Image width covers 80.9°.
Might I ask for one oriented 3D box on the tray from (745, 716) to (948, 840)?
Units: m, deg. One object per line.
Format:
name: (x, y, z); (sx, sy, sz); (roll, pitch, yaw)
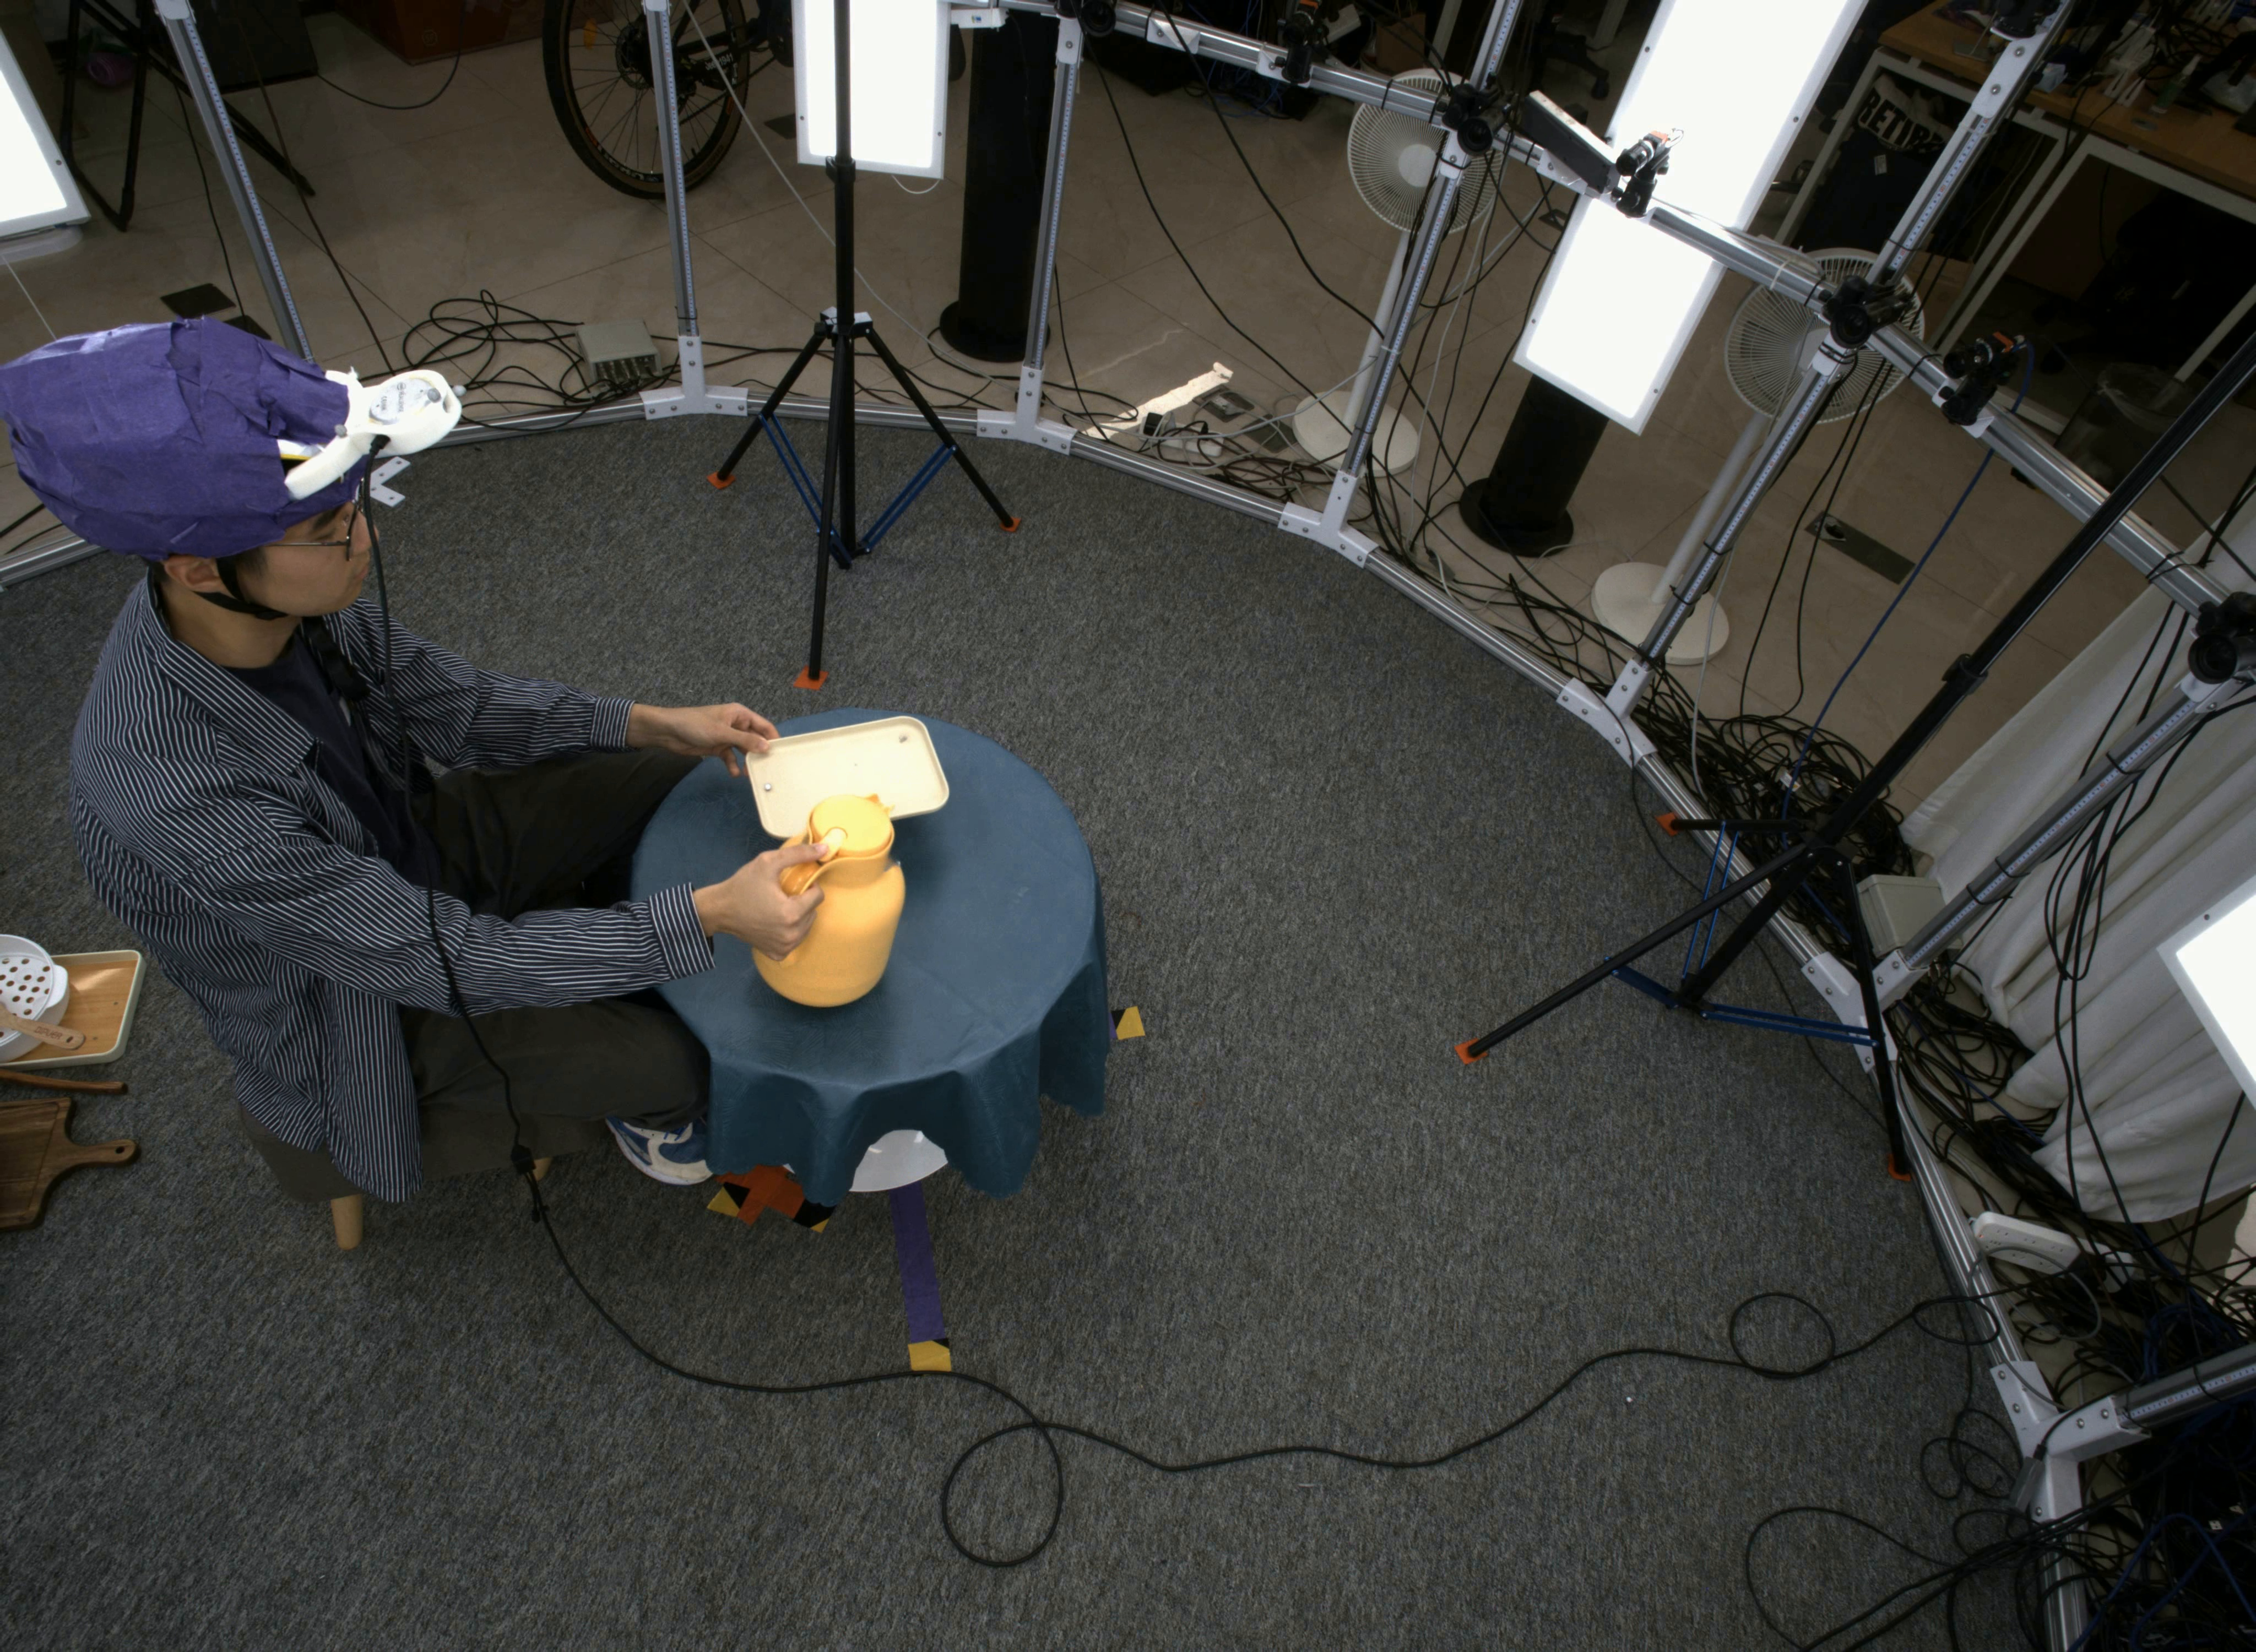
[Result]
tray: (-0.362, -0.062, 1.672); (0.240, 0.018, 0.166); (-12, 54, -20)

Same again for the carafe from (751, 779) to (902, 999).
carafe: (-0.356, 0.078, 1.504); (0.161, 0.265, 0.201); (27, 40, 6)
